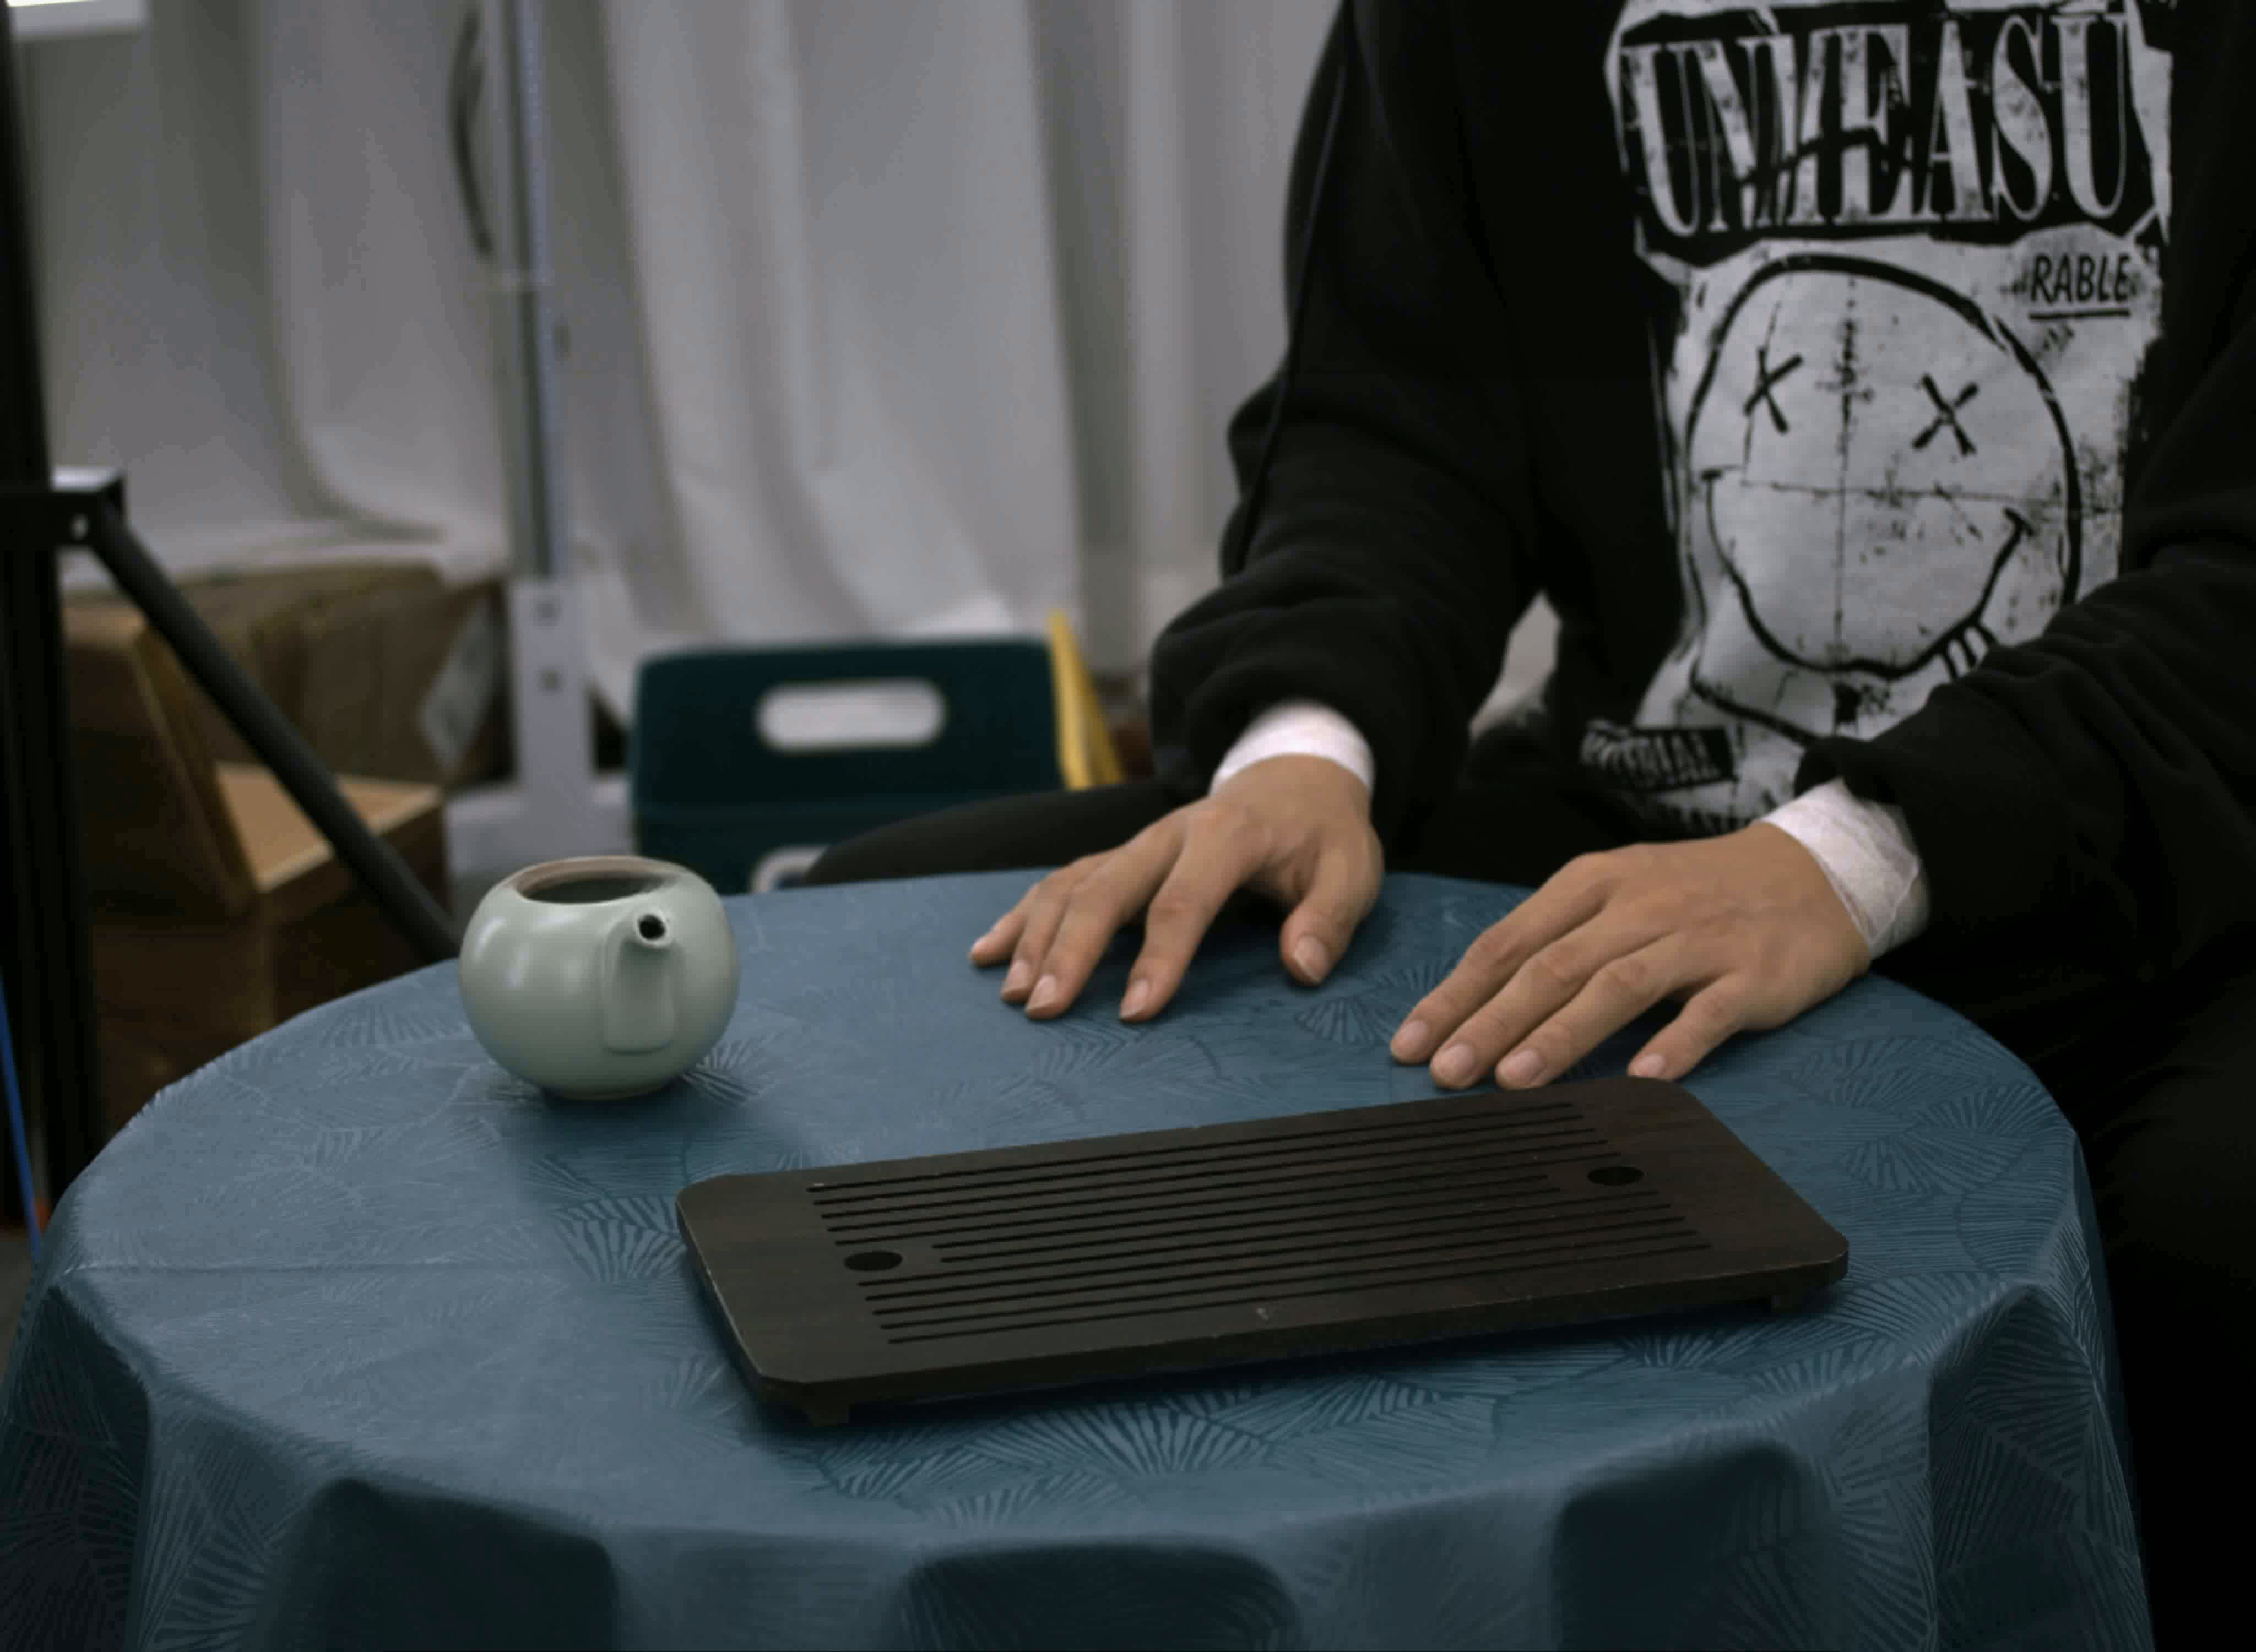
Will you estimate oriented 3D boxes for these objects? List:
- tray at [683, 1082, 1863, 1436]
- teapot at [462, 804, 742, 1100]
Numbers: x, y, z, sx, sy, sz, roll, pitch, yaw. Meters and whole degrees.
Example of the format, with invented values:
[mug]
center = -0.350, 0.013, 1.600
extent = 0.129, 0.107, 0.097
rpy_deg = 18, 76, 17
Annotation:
[tray]
center = 0.037, 0.119, 1.477
extent = 0.302, 0.018, 0.172
rpy_deg = -5, 16, -10
[teapot]
center = -0.165, 0.045, 1.673
extent = 0.087, 0.075, 0.146
rpy_deg = -7, 18, -17
